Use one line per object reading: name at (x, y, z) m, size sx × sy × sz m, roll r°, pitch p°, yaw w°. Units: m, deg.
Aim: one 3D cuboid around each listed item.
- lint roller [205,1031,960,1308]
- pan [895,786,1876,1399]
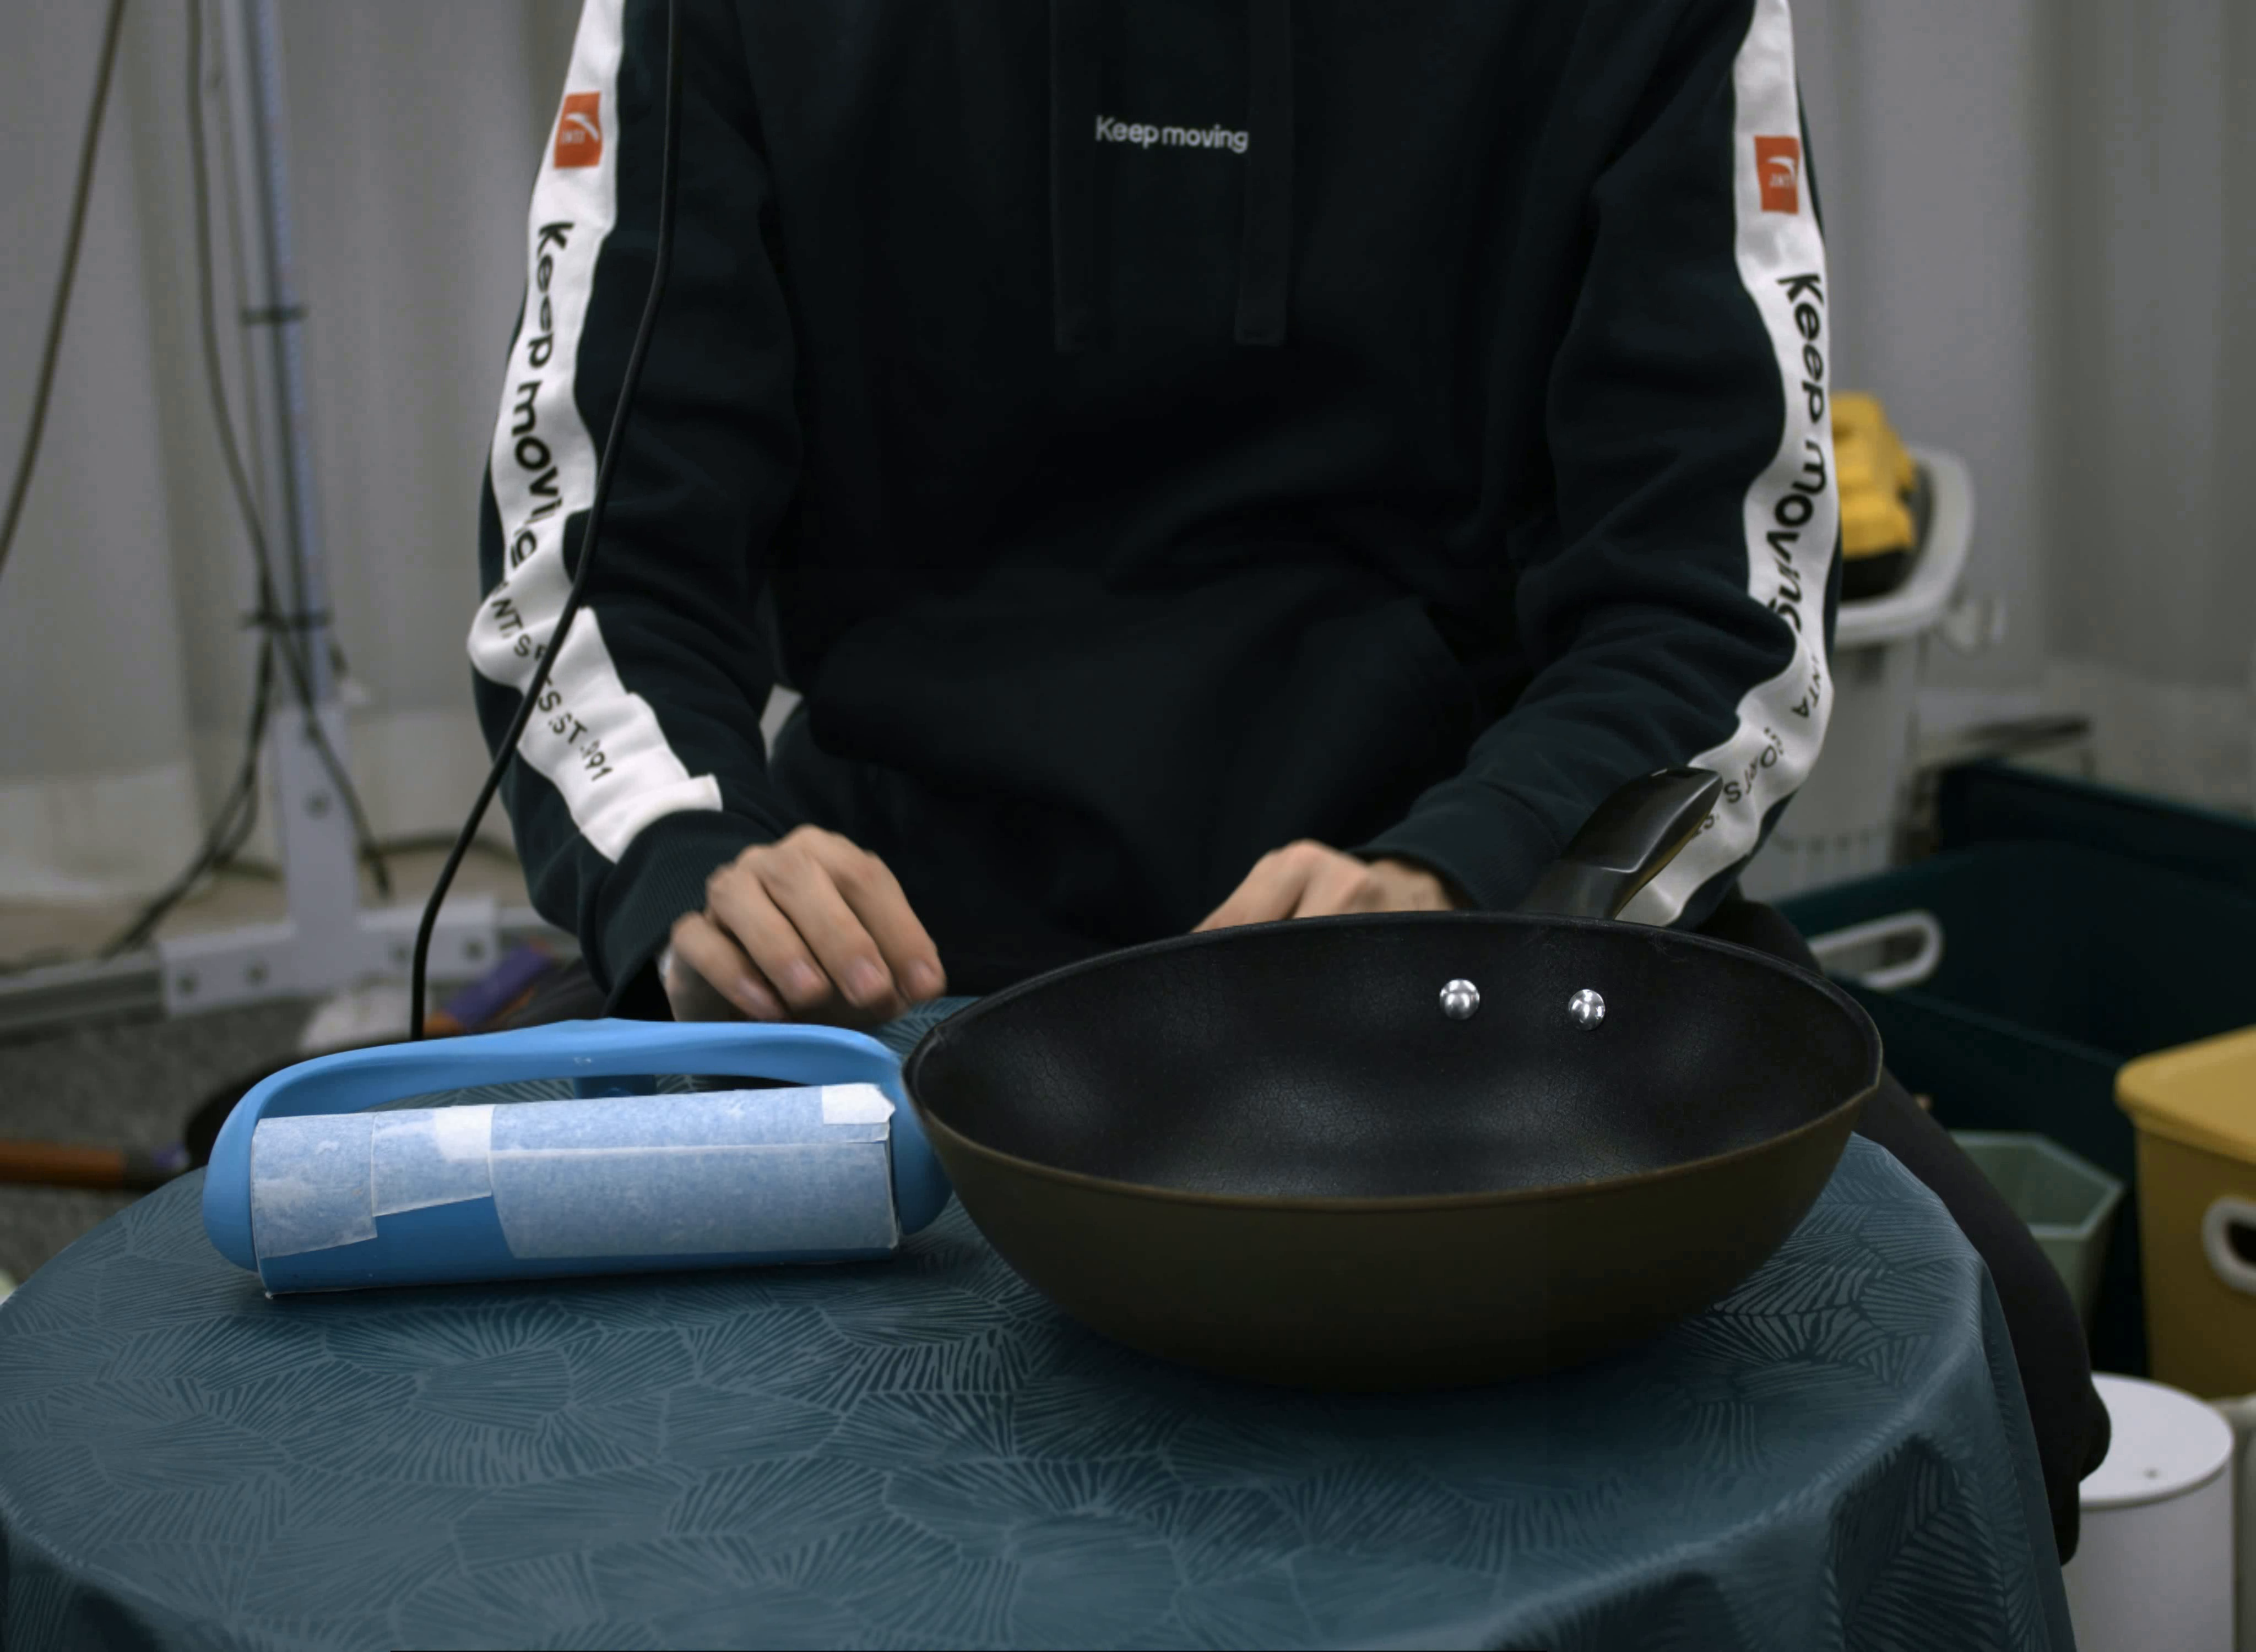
lint roller at (-0.170, 0.095, 1.714) m, size 0.228 × 0.067 × 0.181 m, roll -6°, pitch 16°, yaw -3°
pan at (0.109, 0.079, 1.670) m, size 0.288 × 0.086 × 0.464 m, roll 3°, pitch 16°, yaw 22°
